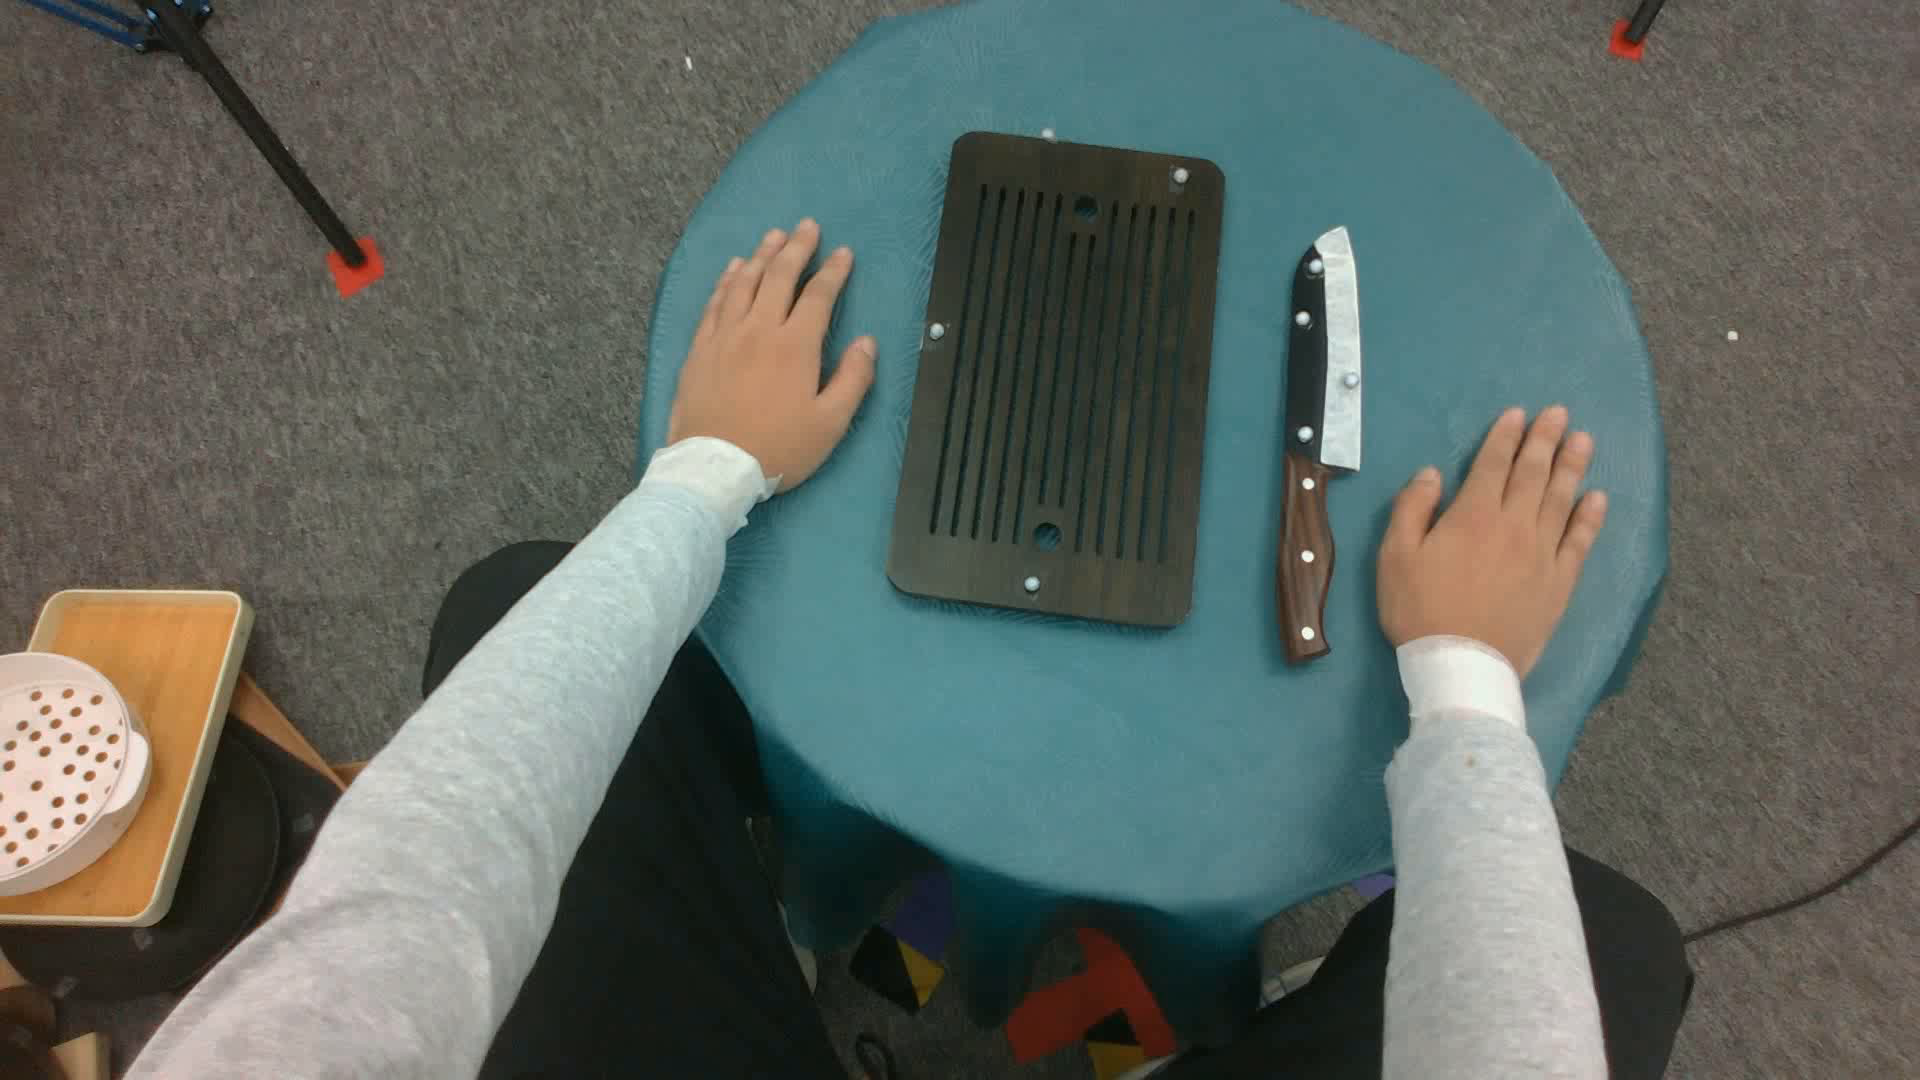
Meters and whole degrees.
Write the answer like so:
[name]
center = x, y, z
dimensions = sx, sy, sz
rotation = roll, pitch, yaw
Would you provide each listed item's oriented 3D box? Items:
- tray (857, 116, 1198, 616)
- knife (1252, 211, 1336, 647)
[tray]
center = 0.045, -0.109, 0.804
dimensions = 0.170, 0.018, 0.307
rotation = 8, 70, 0
[knife]
center = 0.194, -0.073, 0.800
dimensions = 0.050, 0.020, 0.290
rotation = 11, 67, -4
